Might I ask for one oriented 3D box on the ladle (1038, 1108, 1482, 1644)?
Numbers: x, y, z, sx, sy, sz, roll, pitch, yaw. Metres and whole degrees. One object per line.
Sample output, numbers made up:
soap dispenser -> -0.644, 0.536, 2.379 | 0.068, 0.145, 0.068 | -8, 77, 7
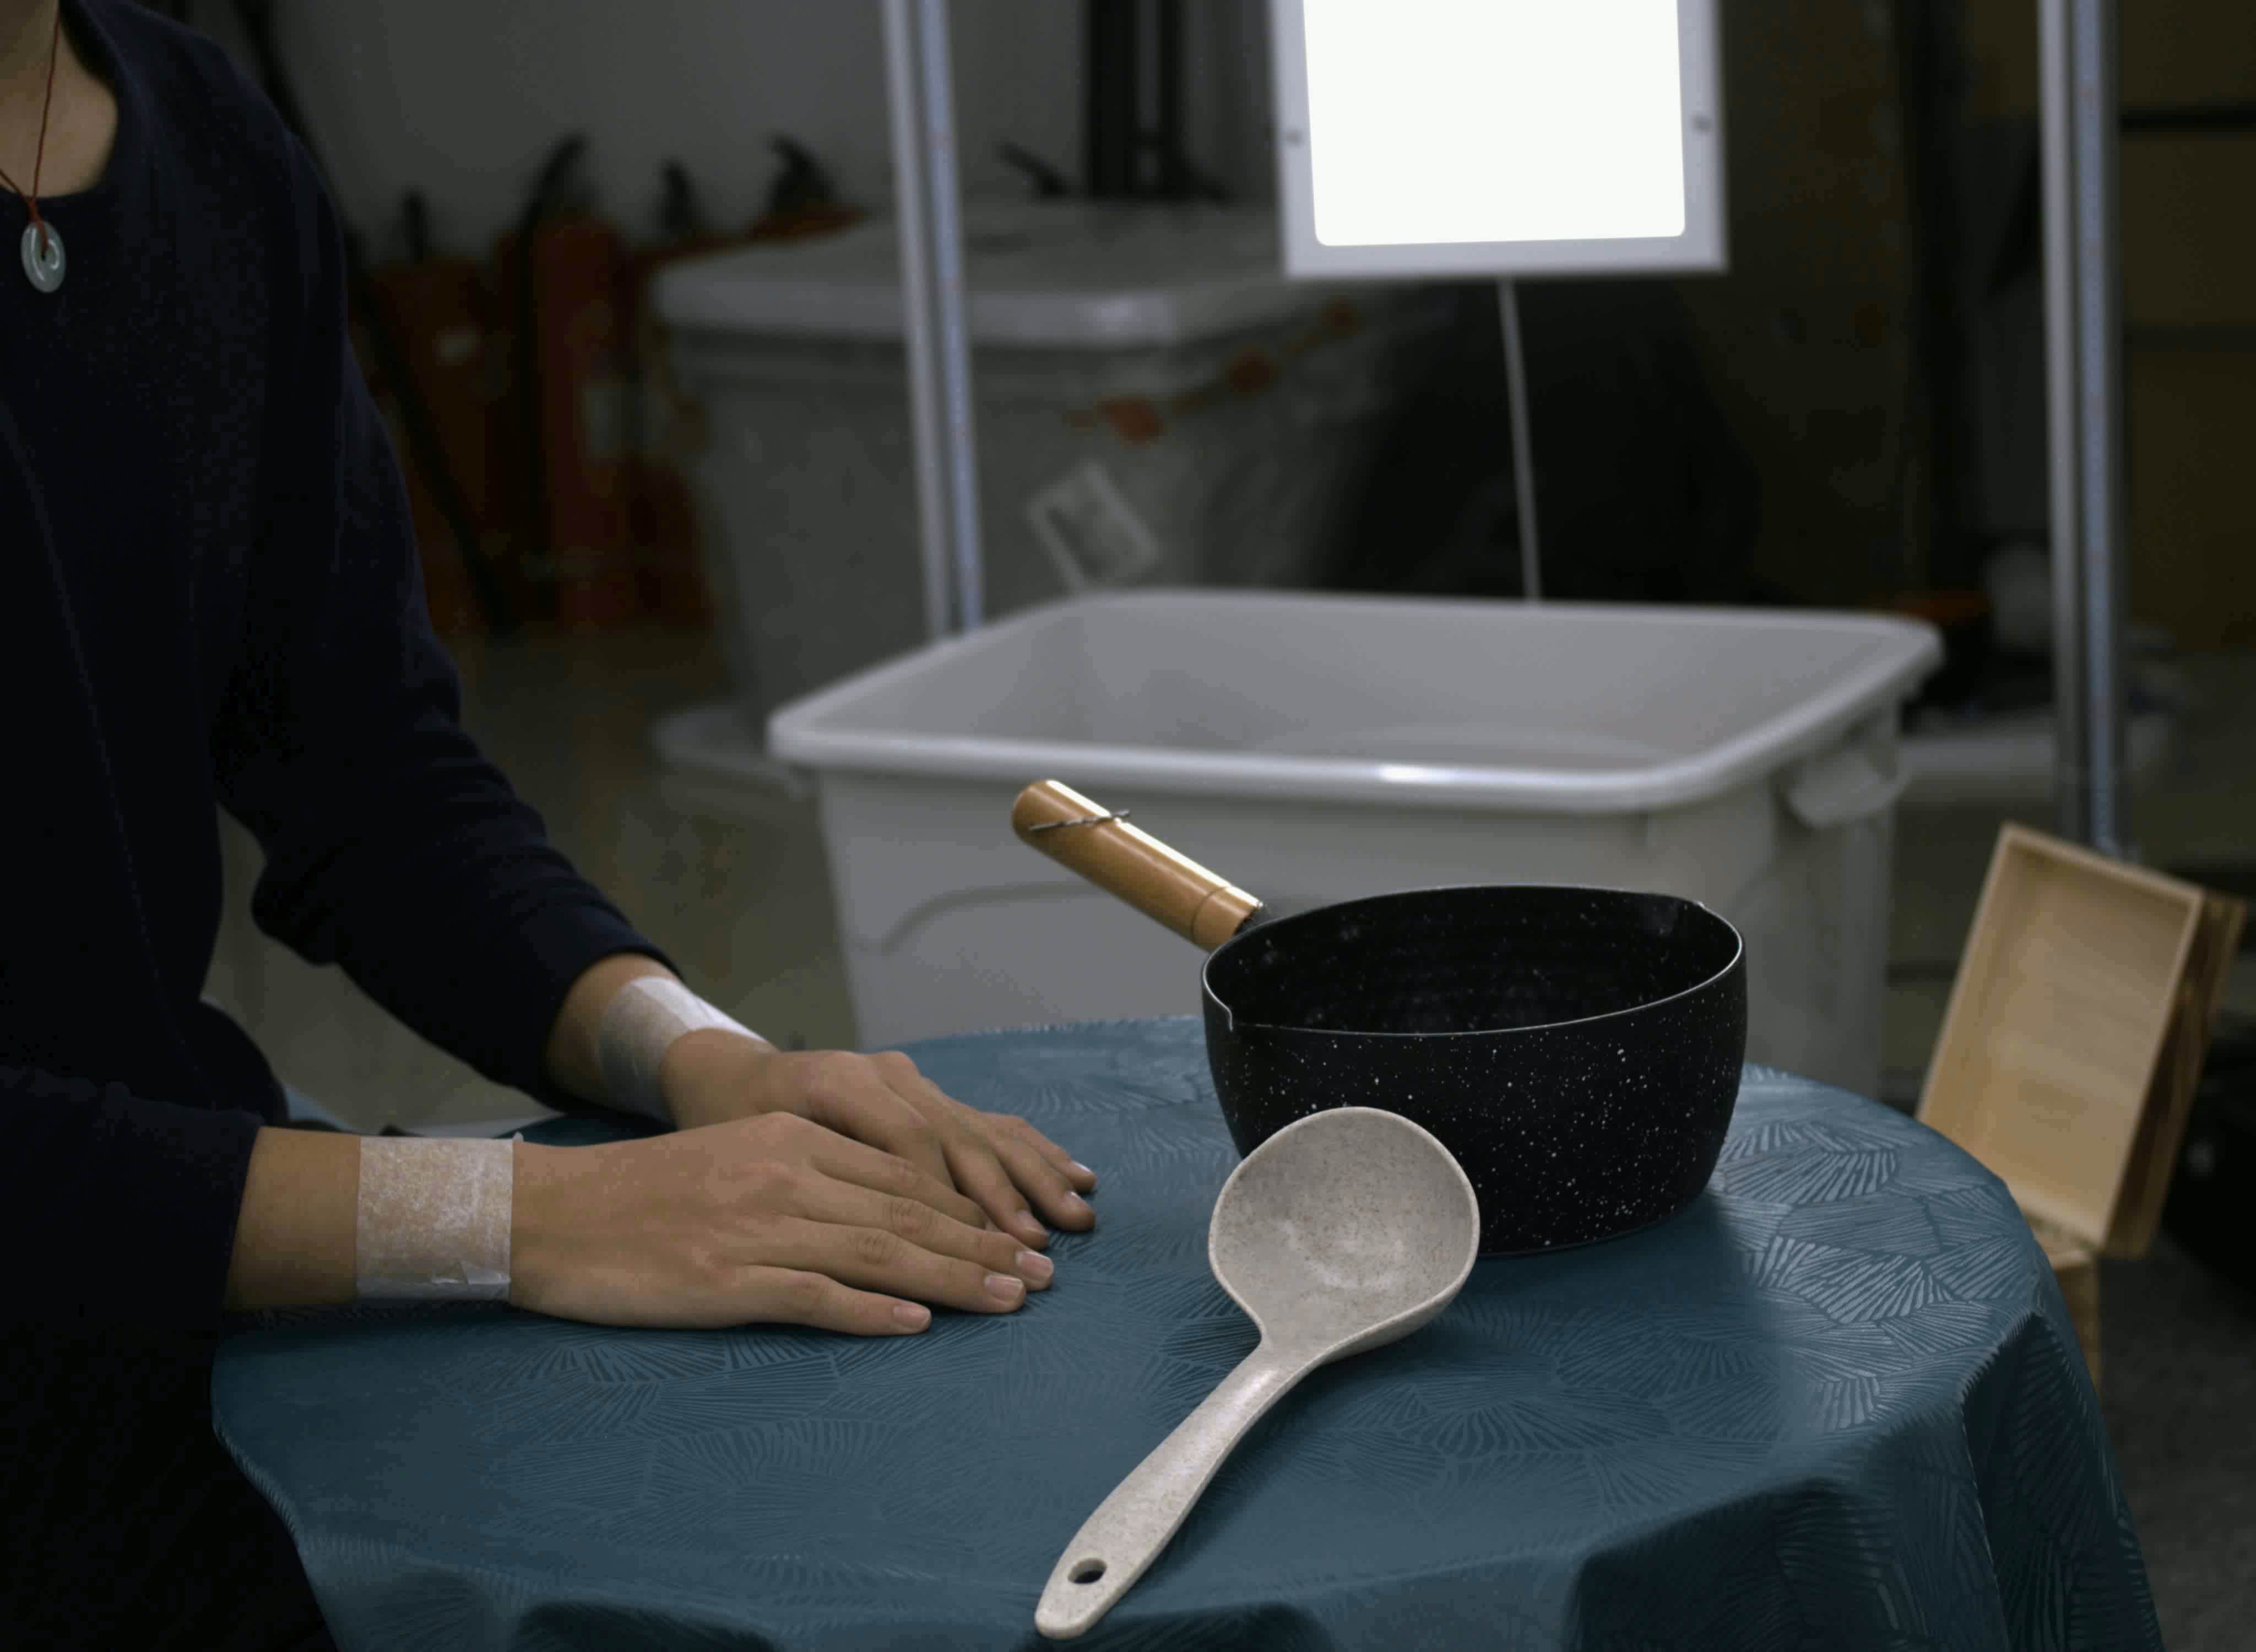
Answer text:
ladle -> 0.030, 0.157, 1.628 | 0.090, 0.070, 0.270 | 8, 18, 20

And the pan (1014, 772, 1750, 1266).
pan -> 0.069, 0.060, 1.913 | 0.202, 0.108, 0.350 | -16, 19, -34
